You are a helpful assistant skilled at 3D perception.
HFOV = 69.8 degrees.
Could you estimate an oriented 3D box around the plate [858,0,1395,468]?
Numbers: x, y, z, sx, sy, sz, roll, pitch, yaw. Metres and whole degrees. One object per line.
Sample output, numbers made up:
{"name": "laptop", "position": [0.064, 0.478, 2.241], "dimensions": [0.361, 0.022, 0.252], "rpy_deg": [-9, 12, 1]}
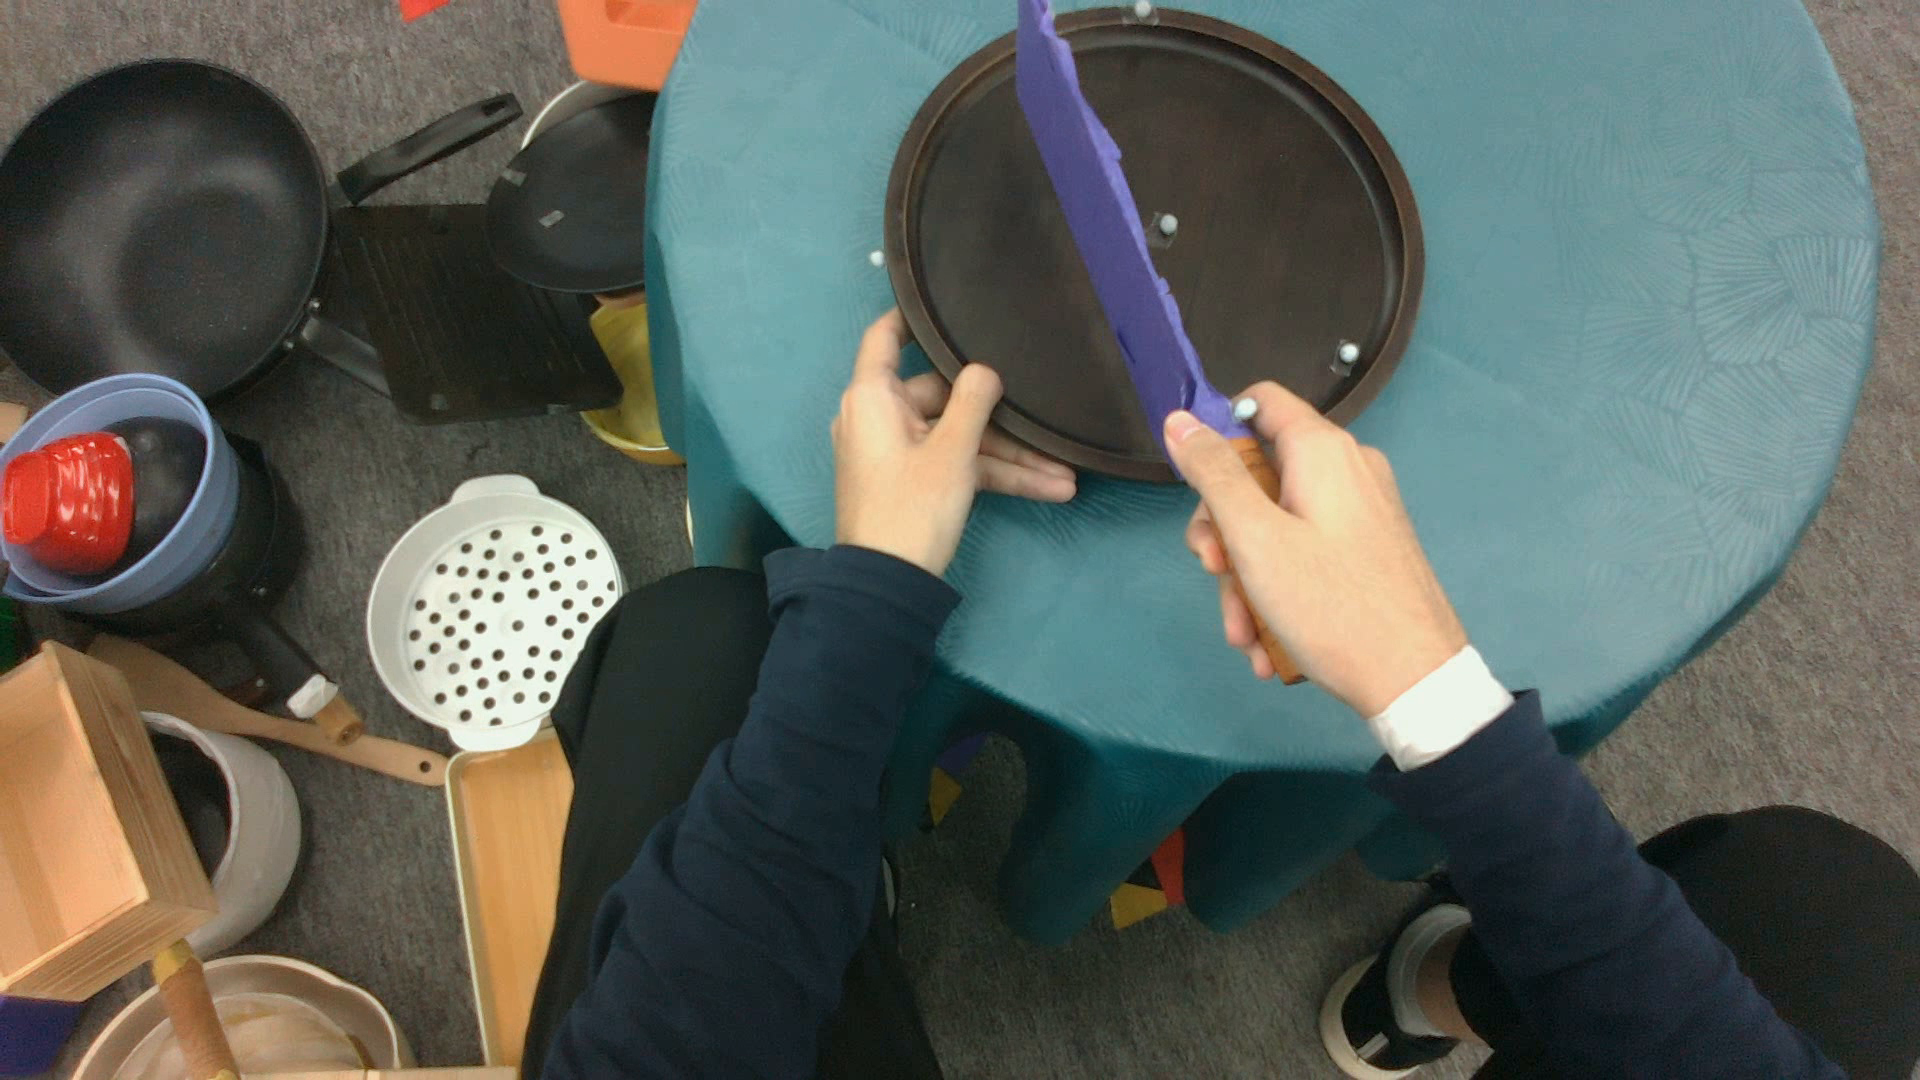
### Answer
{"name": "plate", "position": [0.079, -0.149, 0.646], "dimensions": [0.255, 0.029, 0.255], "rpy_deg": [2, 69, -5]}

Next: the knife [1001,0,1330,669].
{"name": "knife", "position": [0.074, -0.096, 0.557], "dimensions": [0.032, 0.103, 0.316], "rpy_deg": [-16, 76, -4]}
